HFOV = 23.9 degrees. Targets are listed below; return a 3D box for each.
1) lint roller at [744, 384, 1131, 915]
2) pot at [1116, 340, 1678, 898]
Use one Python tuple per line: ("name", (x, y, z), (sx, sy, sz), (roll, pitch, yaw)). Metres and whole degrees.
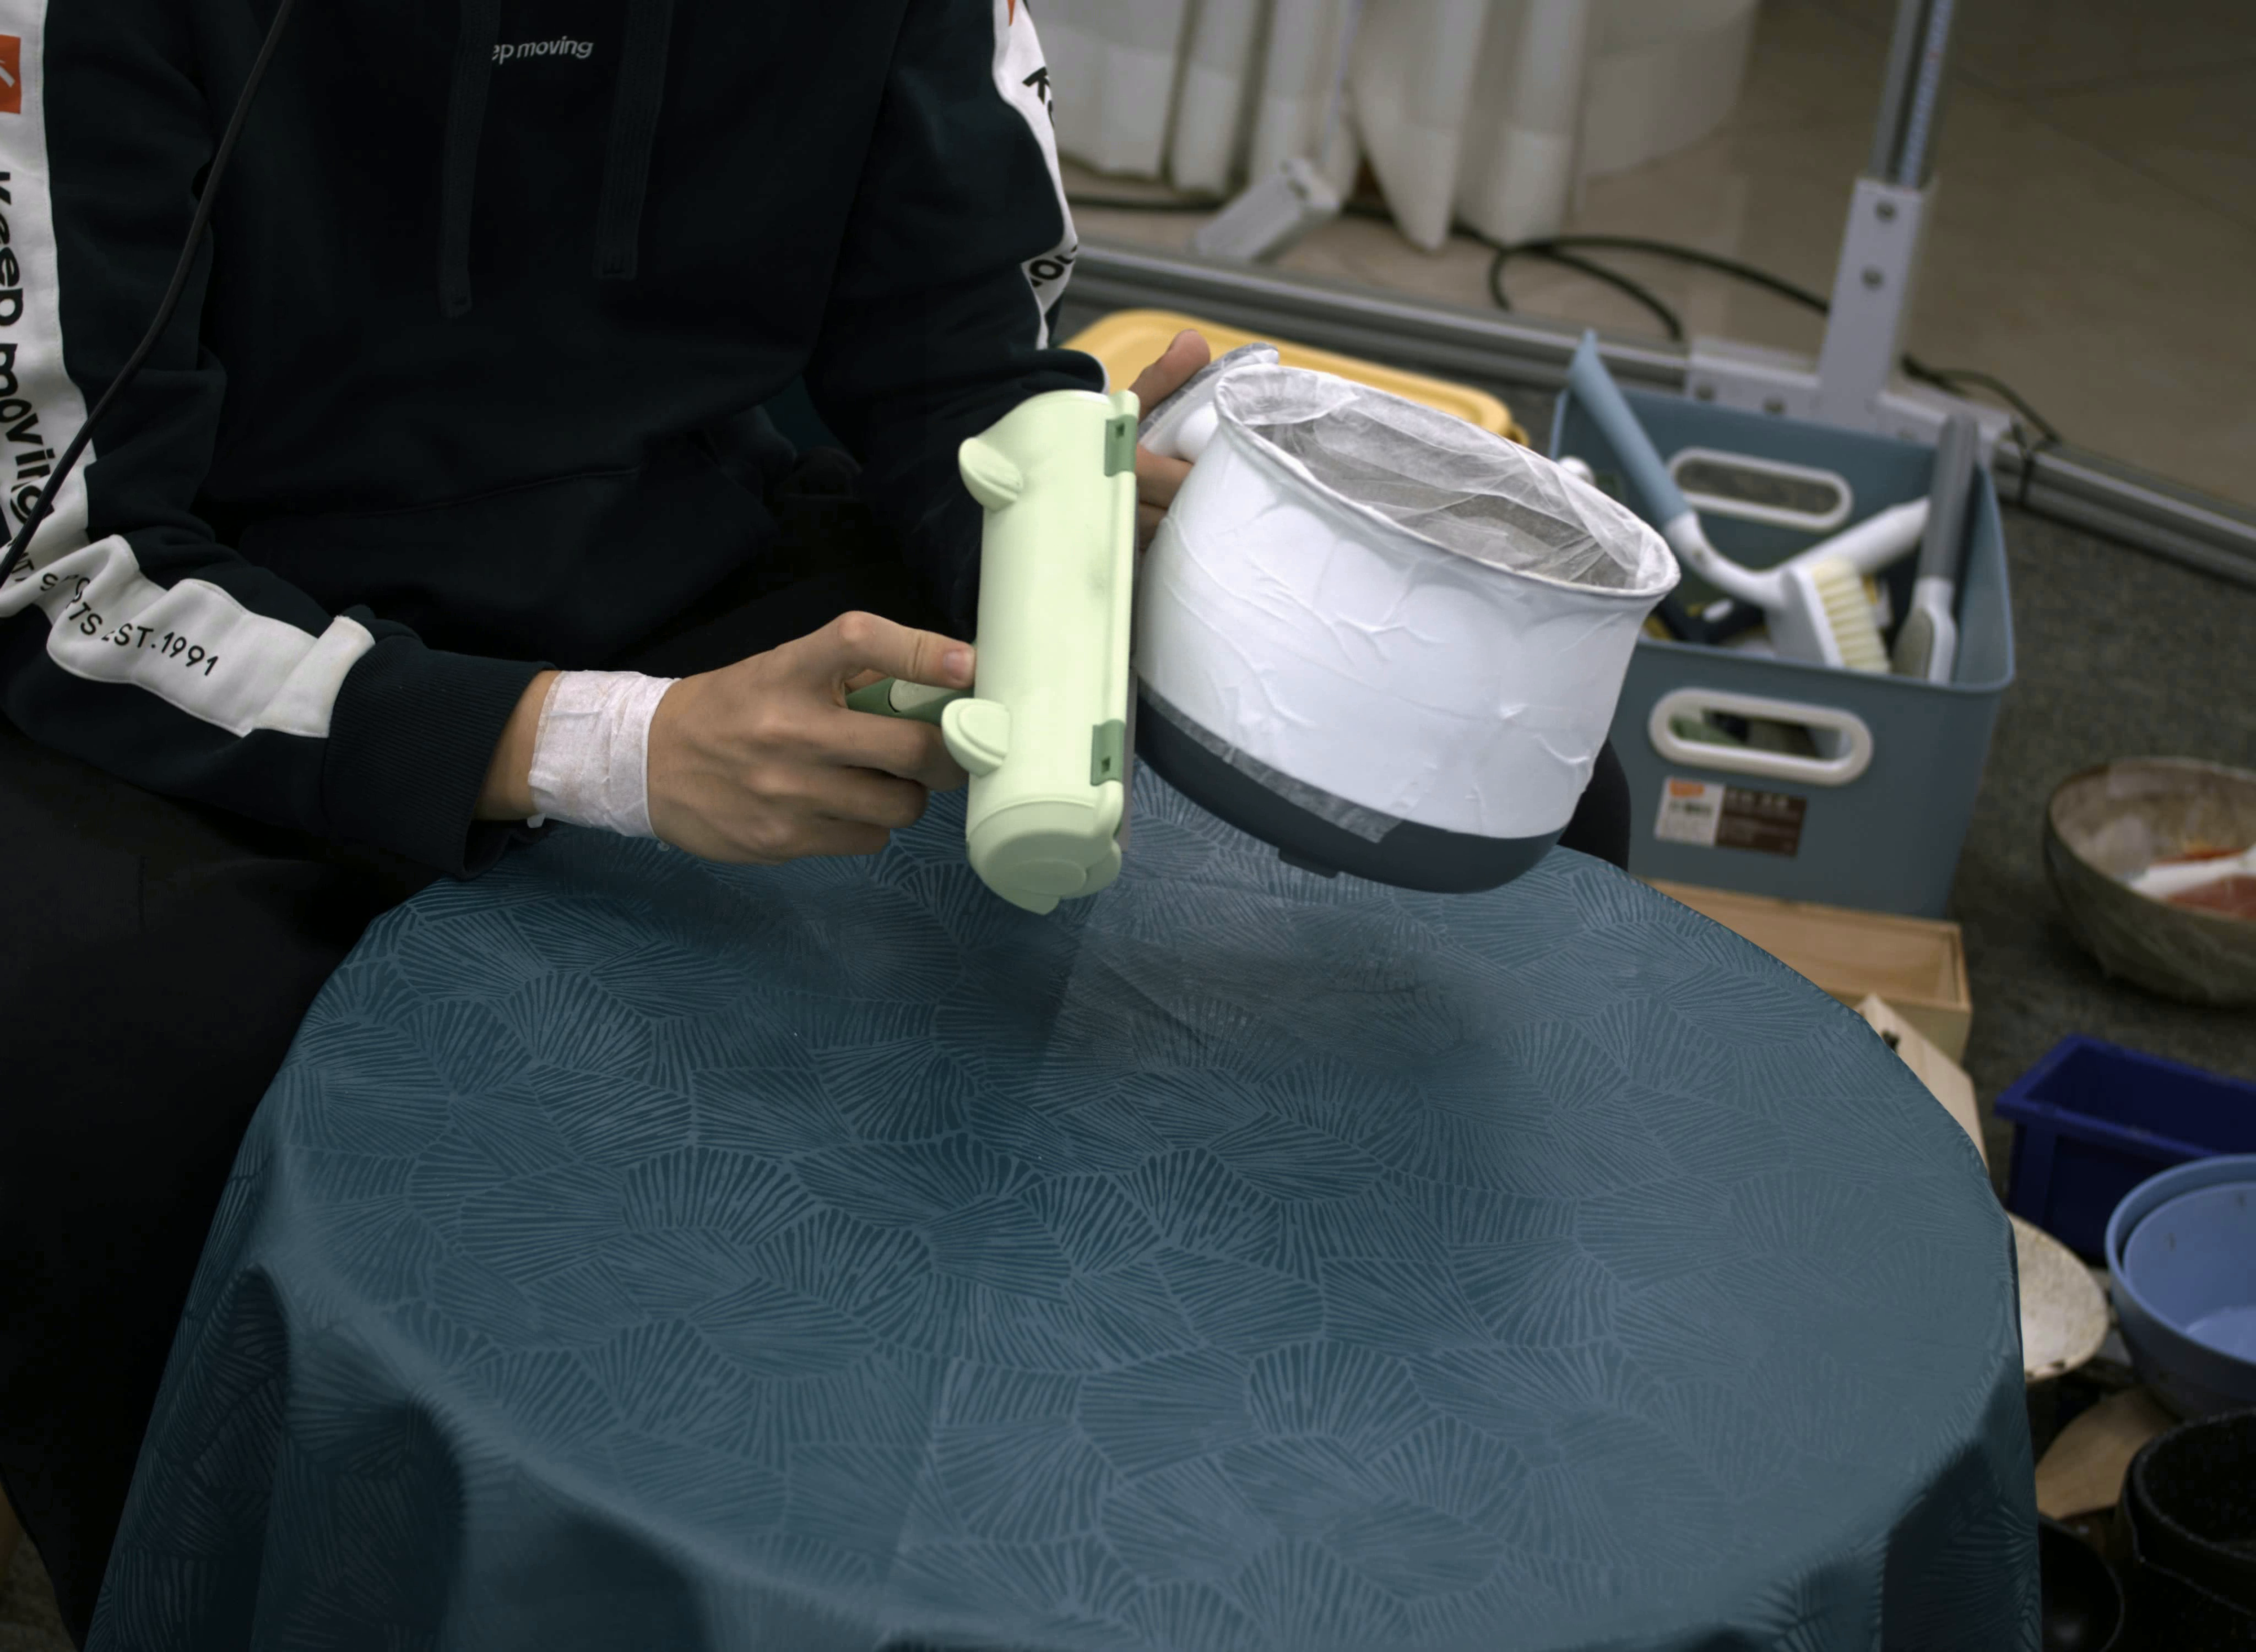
("lint roller", (-0.077, -0.051, 1.865), (0.183, 0.081, 0.200), (-20, 50, 27))
("pot", (0.070, -0.080, 1.899), (0.177, 0.136, 0.236), (2, 28, -47))
